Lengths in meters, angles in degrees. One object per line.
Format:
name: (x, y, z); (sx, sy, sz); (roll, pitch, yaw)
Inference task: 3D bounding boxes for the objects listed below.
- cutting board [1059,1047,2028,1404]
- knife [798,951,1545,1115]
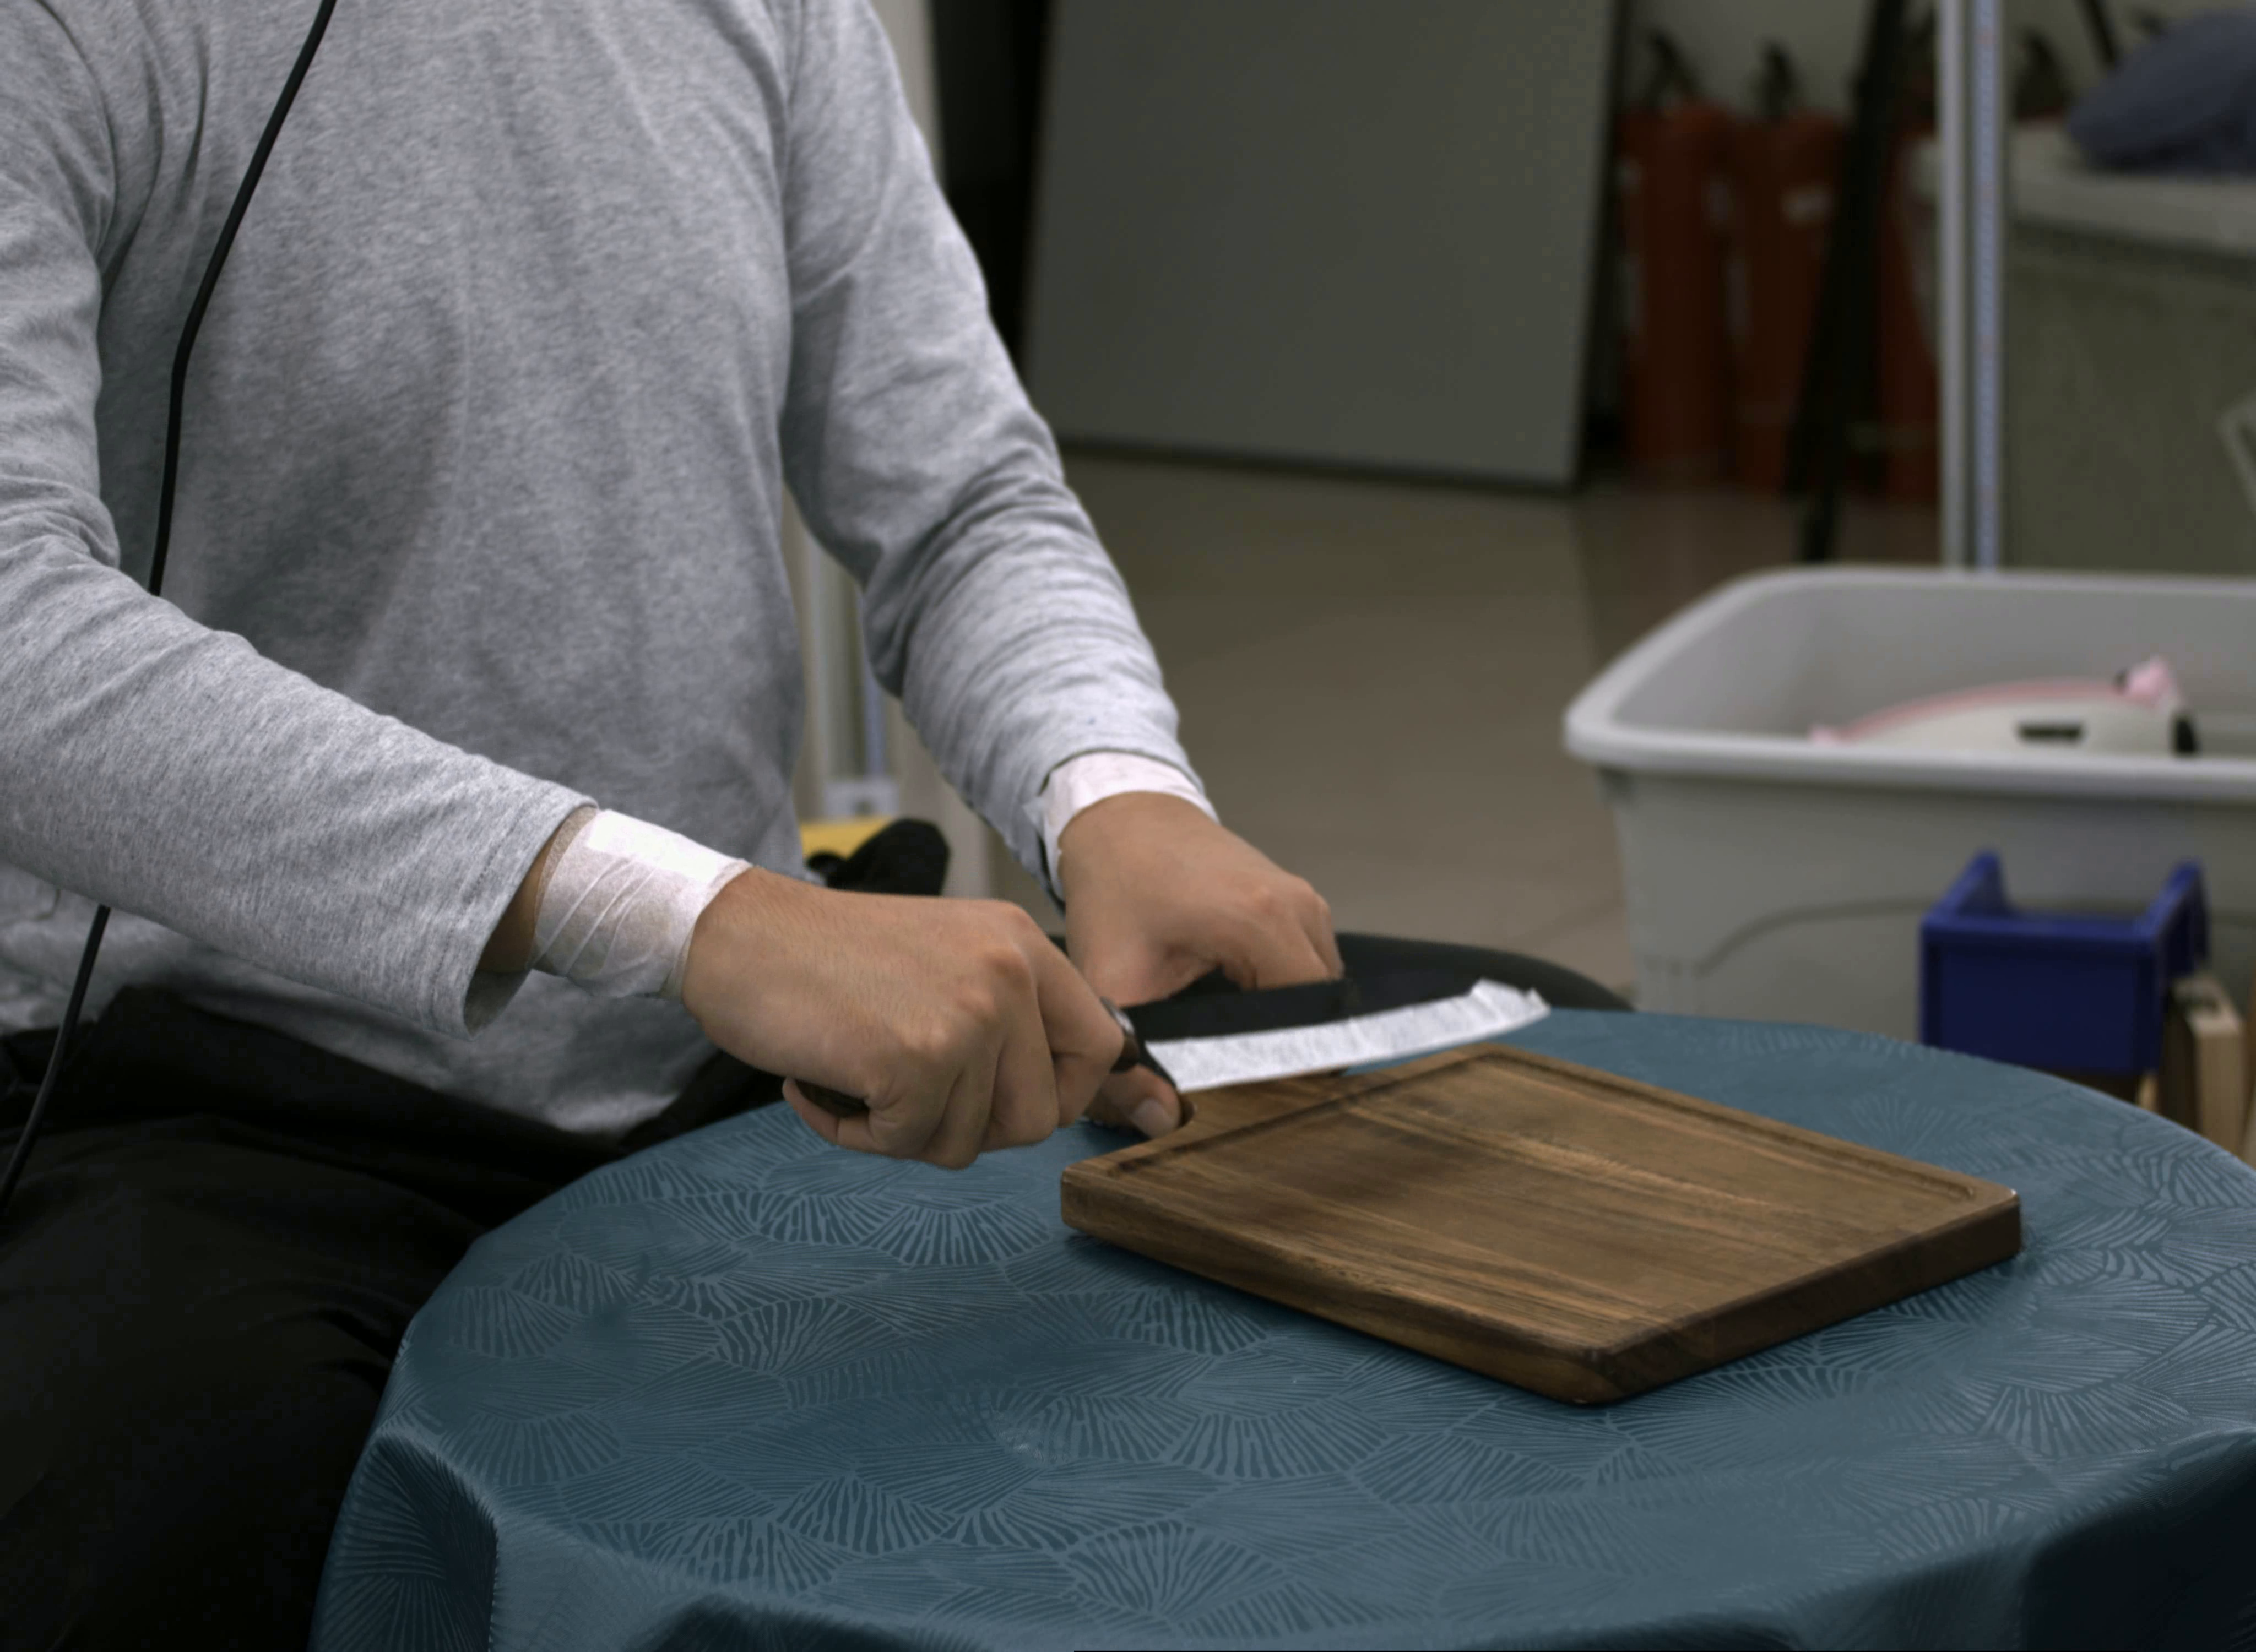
cutting board: (0.097, 0.113, 1.729); (0.196, 0.023, 0.356); (-14, 17, -37)
knife: (0.020, 0.064, 1.698); (0.282, 0.020, 0.051); (-5, 37, -35)
